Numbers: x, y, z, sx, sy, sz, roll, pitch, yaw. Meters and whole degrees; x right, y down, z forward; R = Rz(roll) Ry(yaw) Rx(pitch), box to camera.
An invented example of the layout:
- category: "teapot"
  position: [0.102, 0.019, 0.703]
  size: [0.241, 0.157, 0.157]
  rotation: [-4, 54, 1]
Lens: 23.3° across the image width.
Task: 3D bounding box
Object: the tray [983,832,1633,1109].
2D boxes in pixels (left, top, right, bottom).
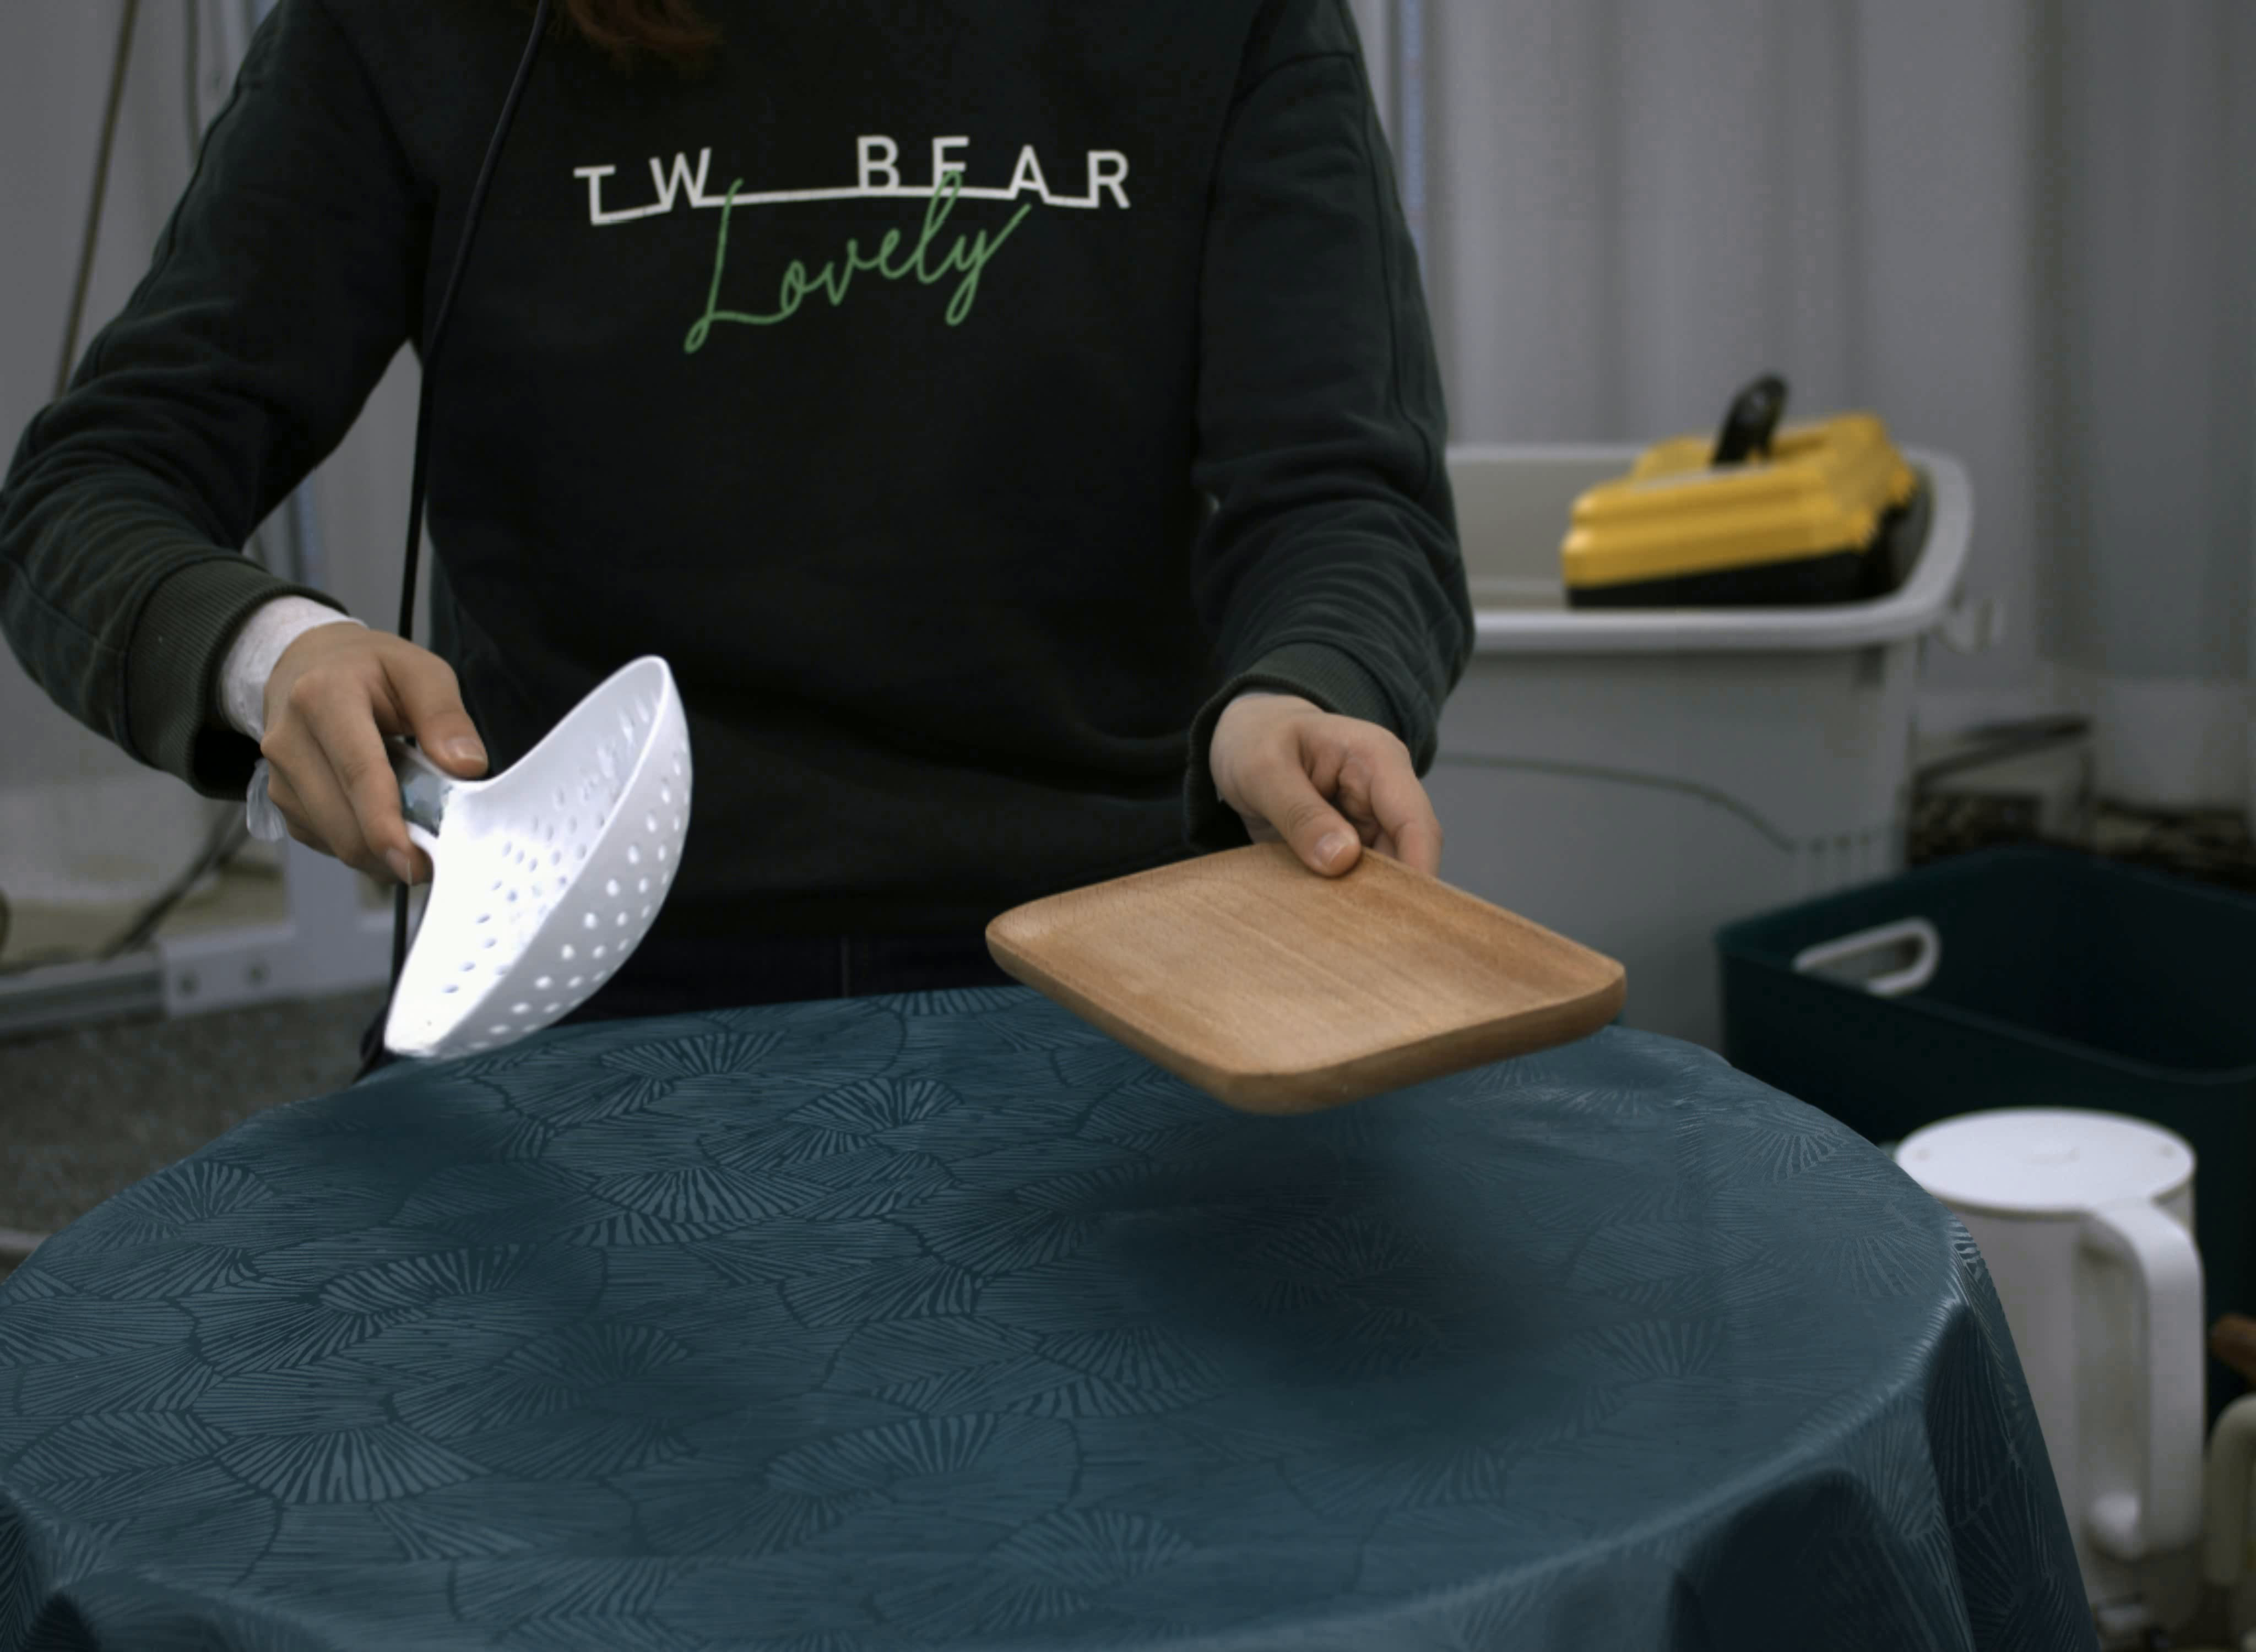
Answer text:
- category: "tray"
  position: [0.049, 0.041, 1.631]
  size: [0.130, 0.023, 0.252]
  rotation: [-12, 13, -18]

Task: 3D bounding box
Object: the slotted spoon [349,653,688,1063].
- category: "slotted spoon"
  position: [-0.197, 0.000, 1.653]
  size: [0.045, 0.136, 0.352]
  rotation: [34, -4, -23]
